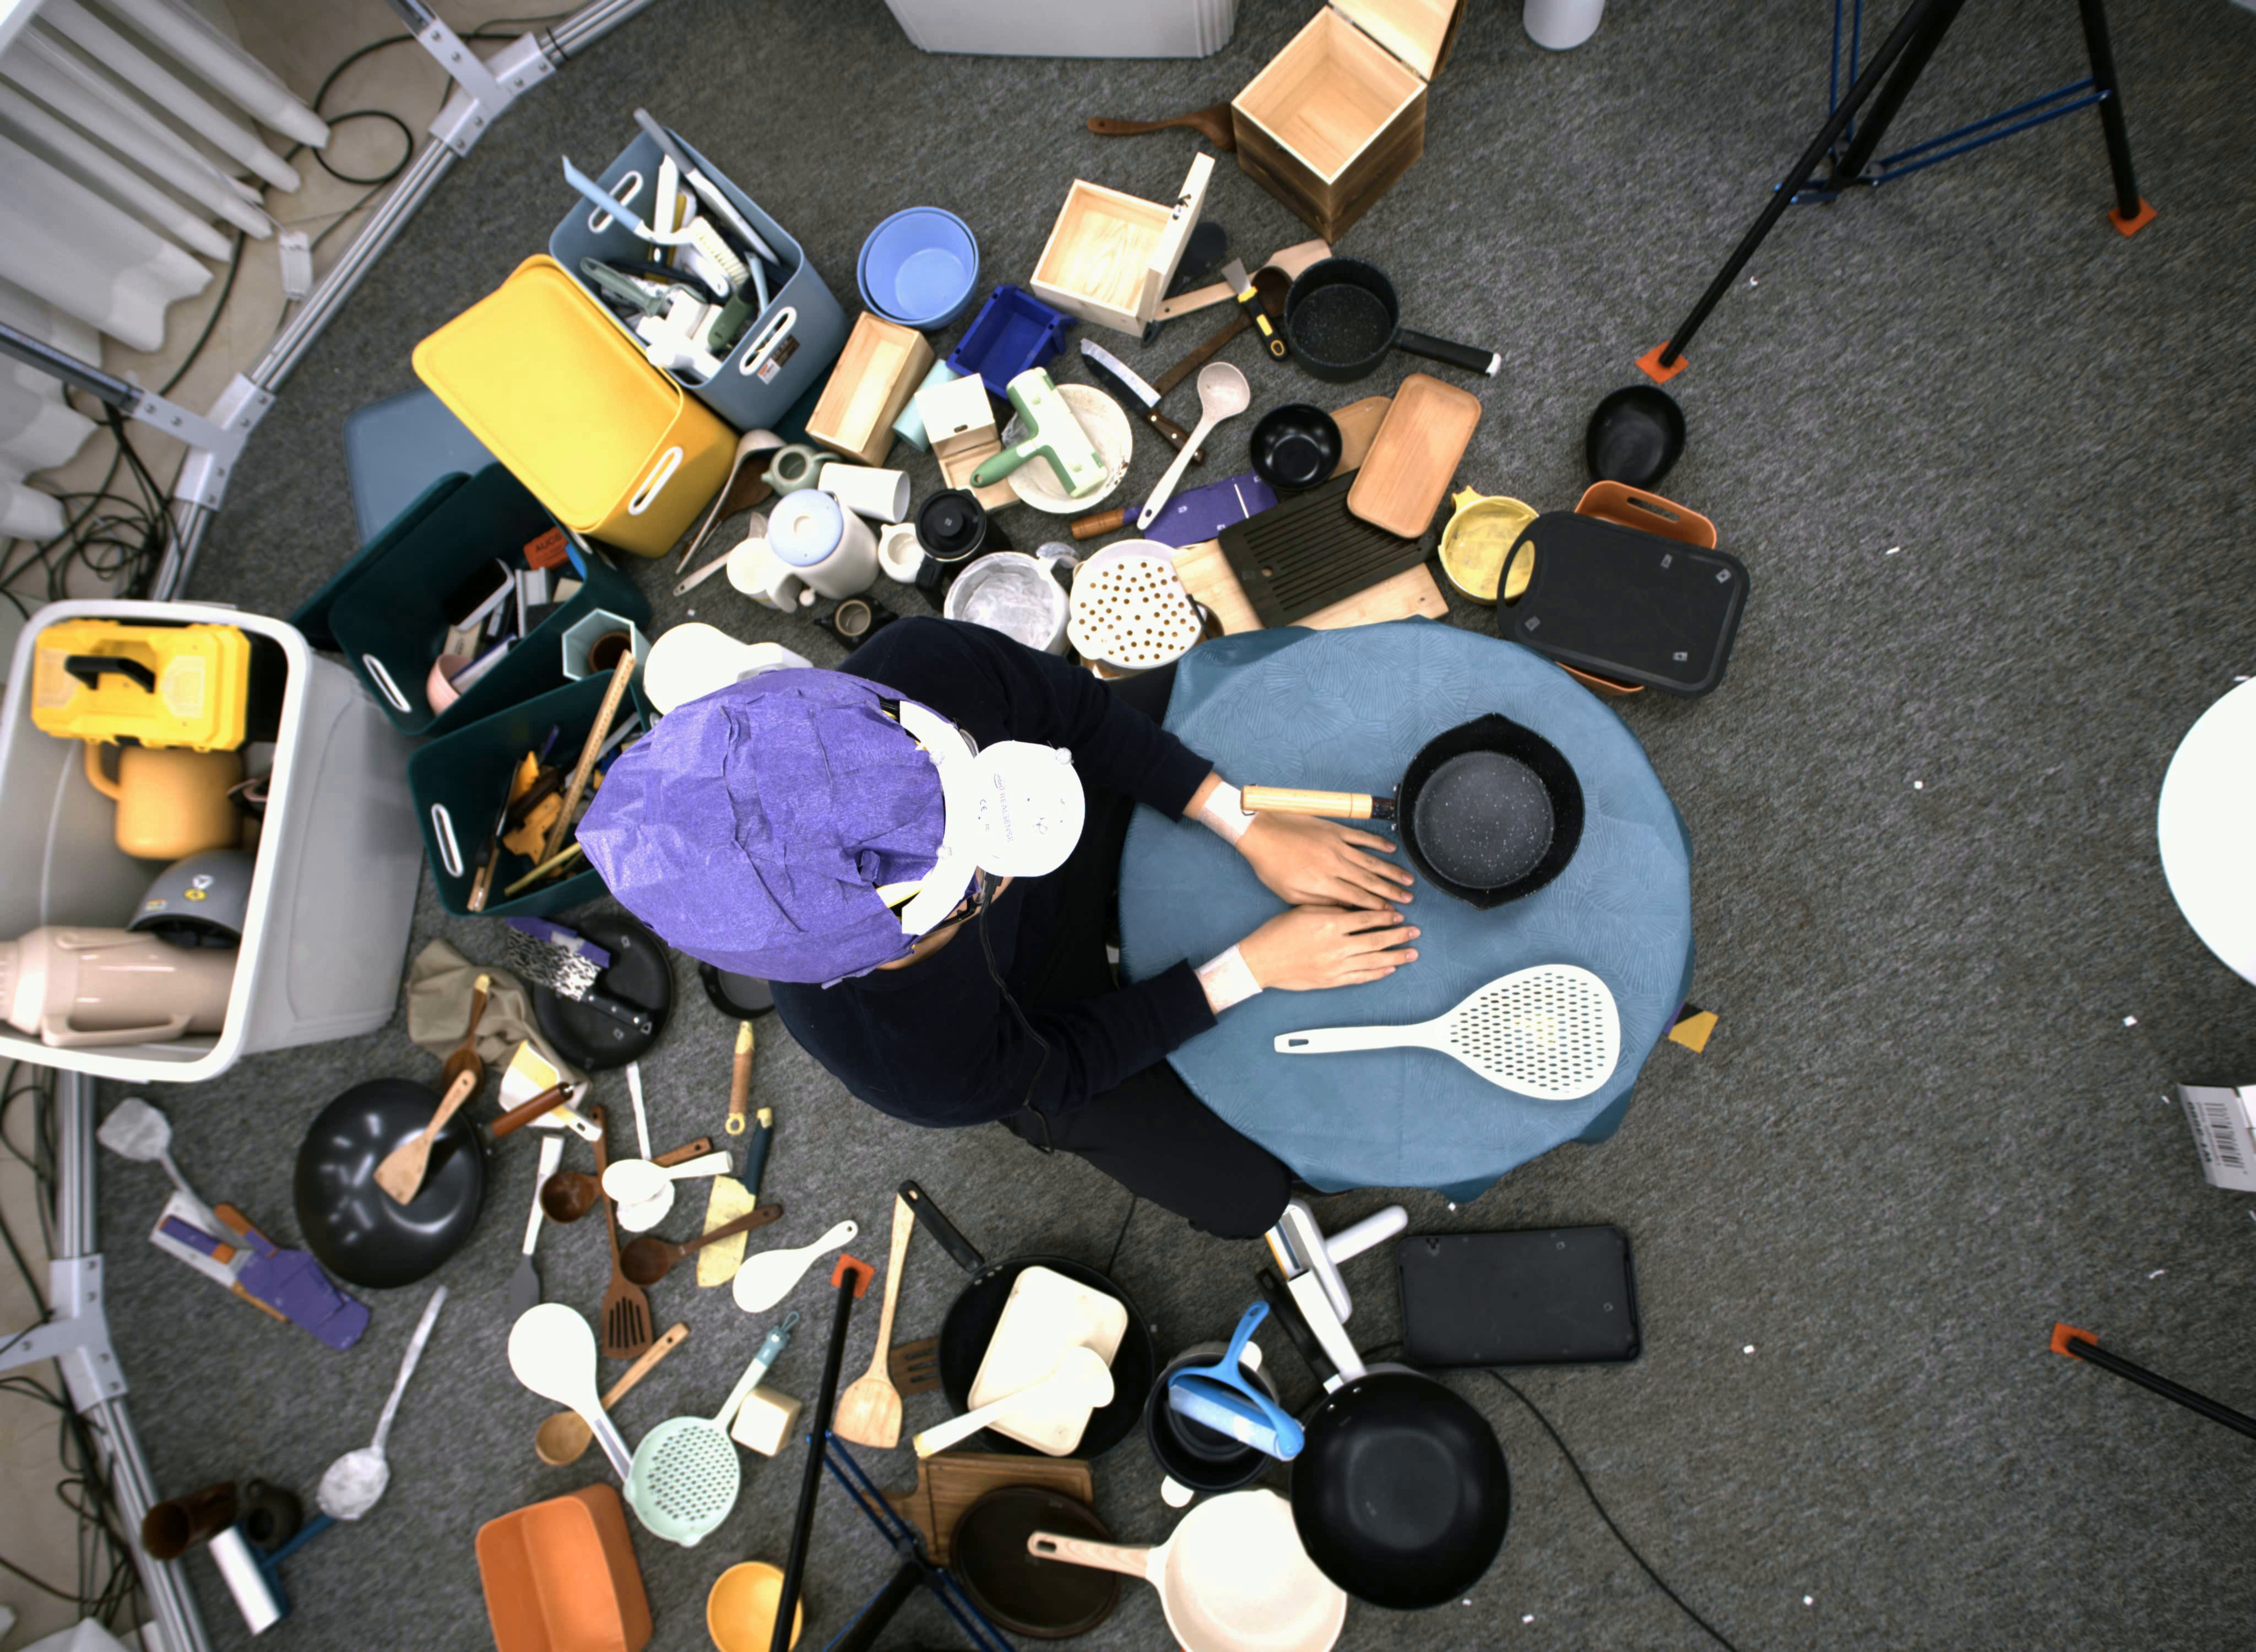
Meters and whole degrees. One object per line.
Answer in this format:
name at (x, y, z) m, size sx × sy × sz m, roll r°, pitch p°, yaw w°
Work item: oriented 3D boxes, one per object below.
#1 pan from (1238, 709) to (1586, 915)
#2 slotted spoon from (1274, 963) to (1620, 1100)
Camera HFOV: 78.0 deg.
pan at (0.286, -0.016, 1.407) m, size 0.344 × 0.108 × 0.207 m, roll 2°, pitch 88°, yaw 9°
slotted spoon at (0.323, 0.215, 1.420) m, size 0.349 × 0.050 × 0.136 m, roll -5°, pitch 87°, yaw 9°
